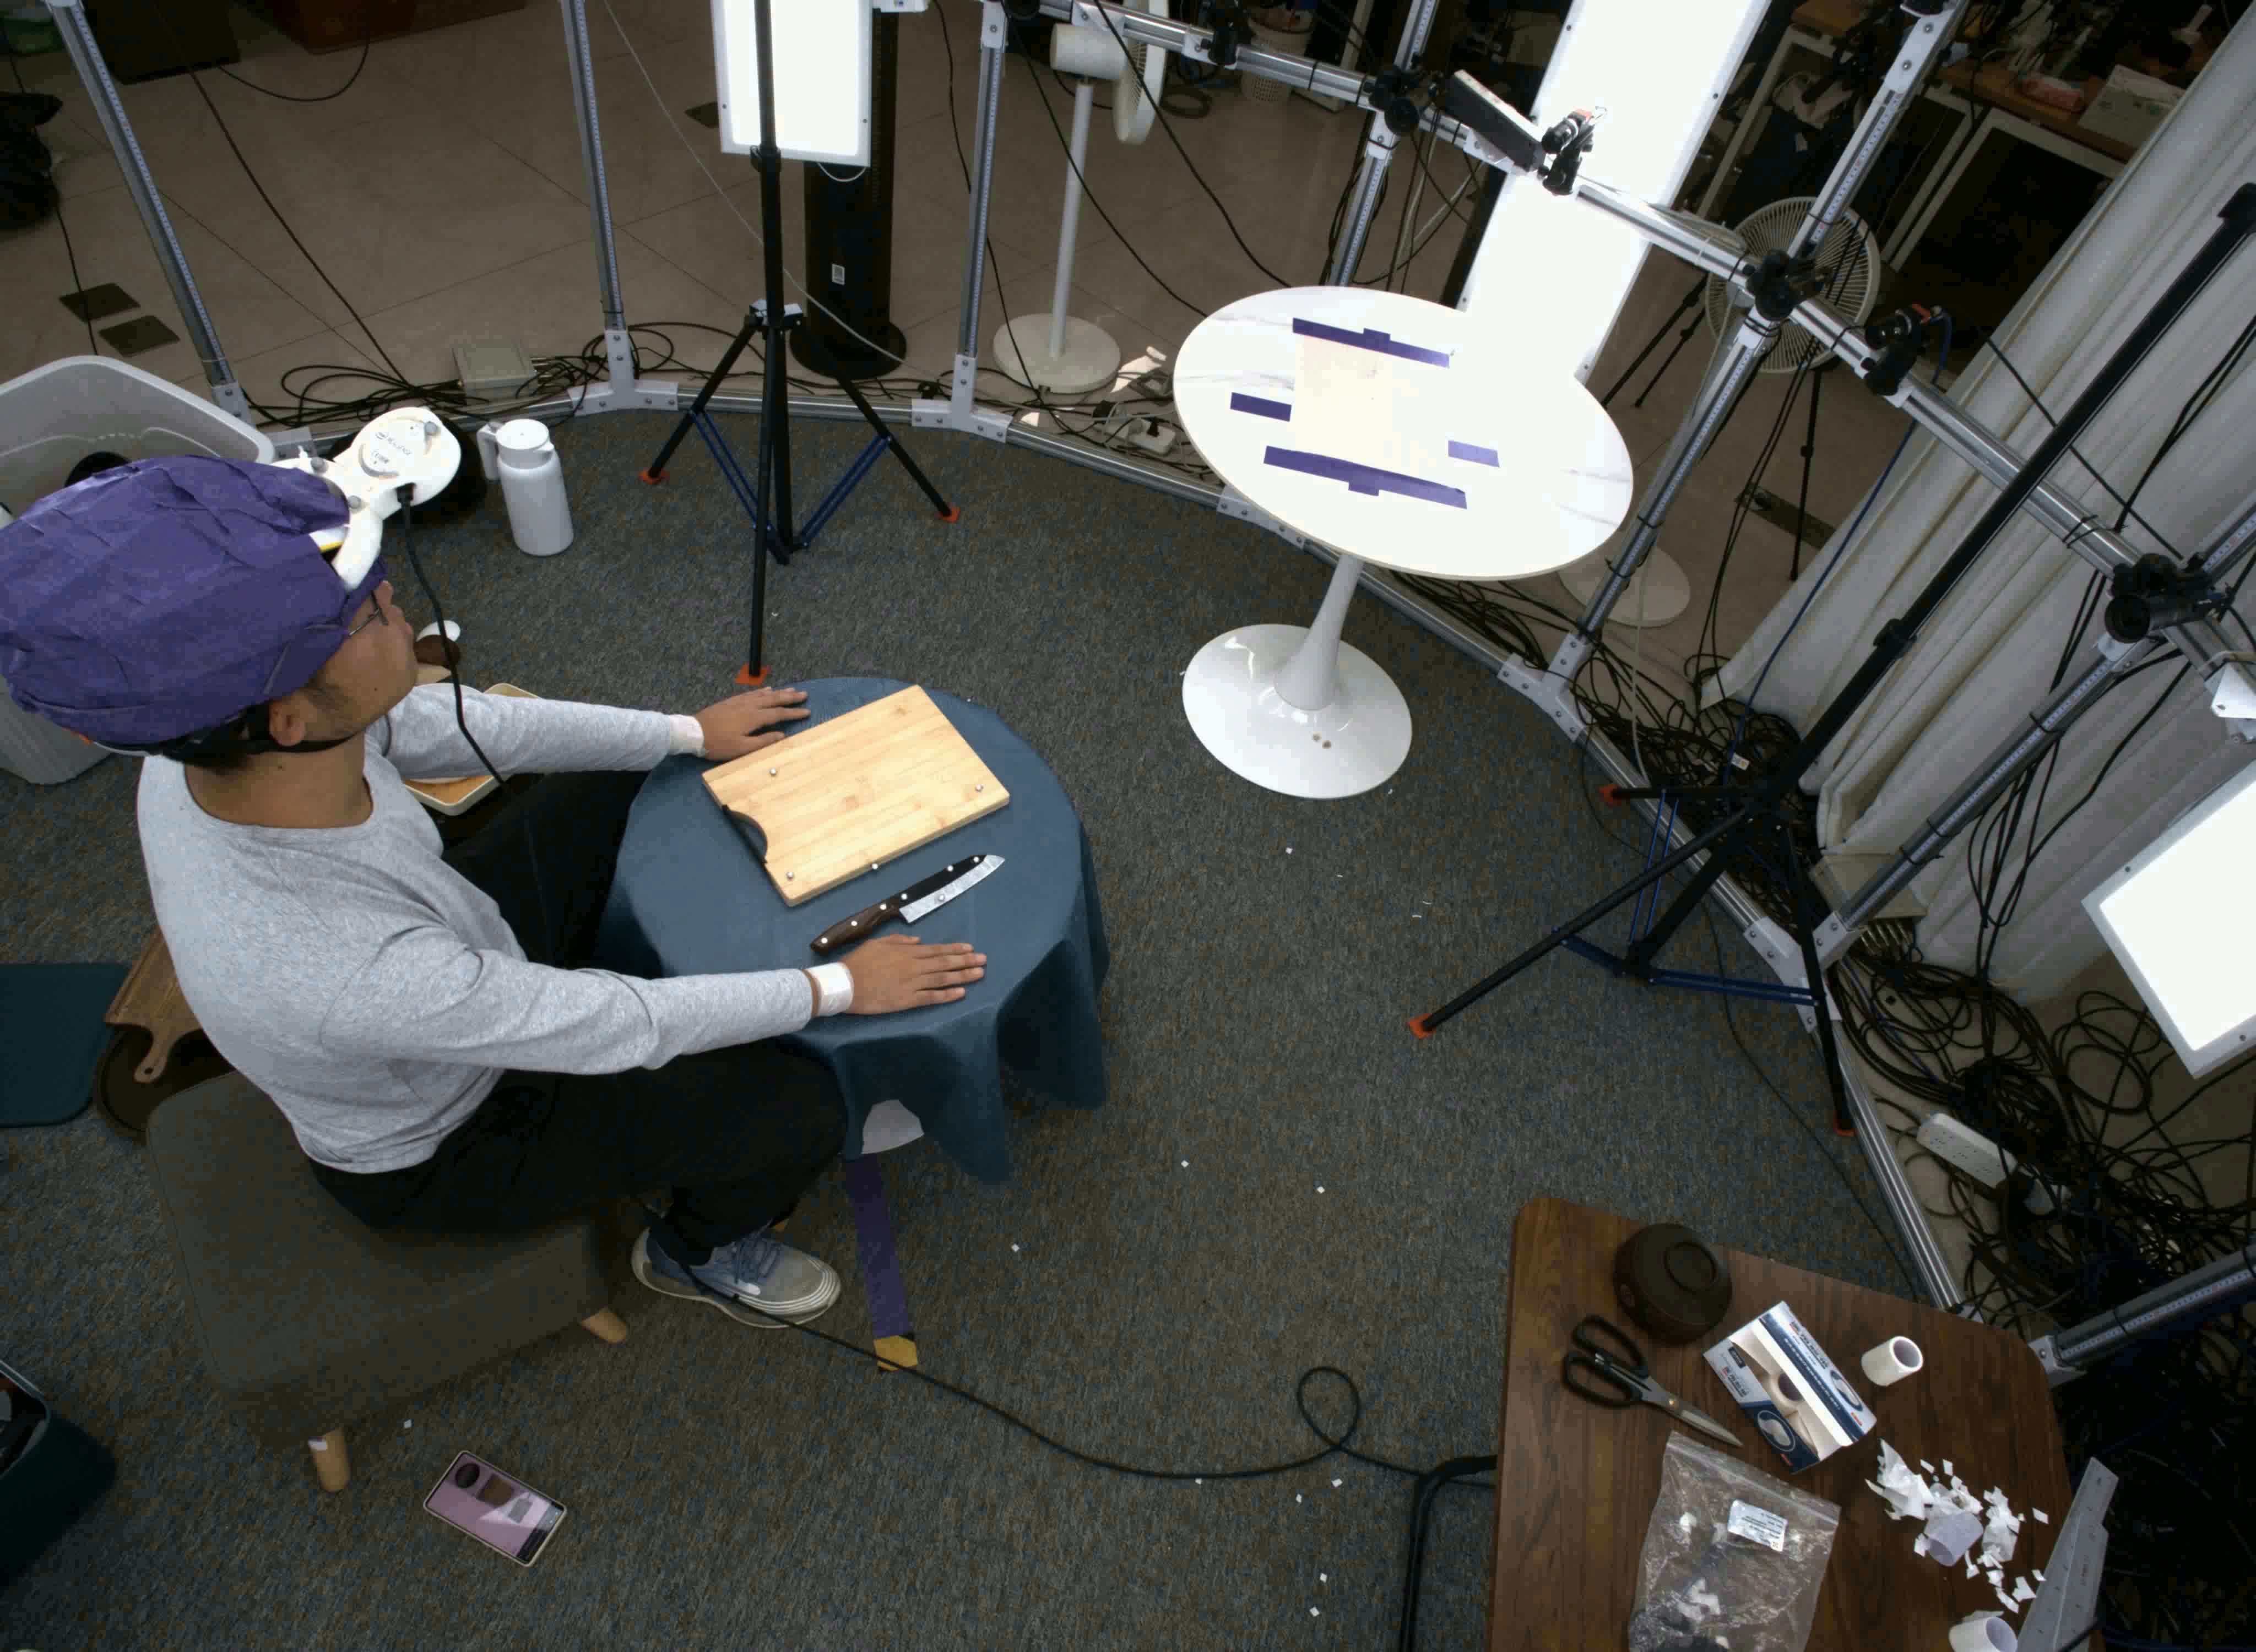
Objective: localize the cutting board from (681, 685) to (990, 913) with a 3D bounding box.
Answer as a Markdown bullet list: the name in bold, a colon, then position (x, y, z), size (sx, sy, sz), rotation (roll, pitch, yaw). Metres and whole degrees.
- **cutting board**: position (-0.393, -0.047, 1.768), size (0.350, 0.024, 0.244), rotation (-29, 65, -30)

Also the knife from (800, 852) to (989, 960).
- **knife**: position (-0.297, 0.098, 1.686), size (0.290, 0.020, 0.049), rotation (-29, 70, -33)
